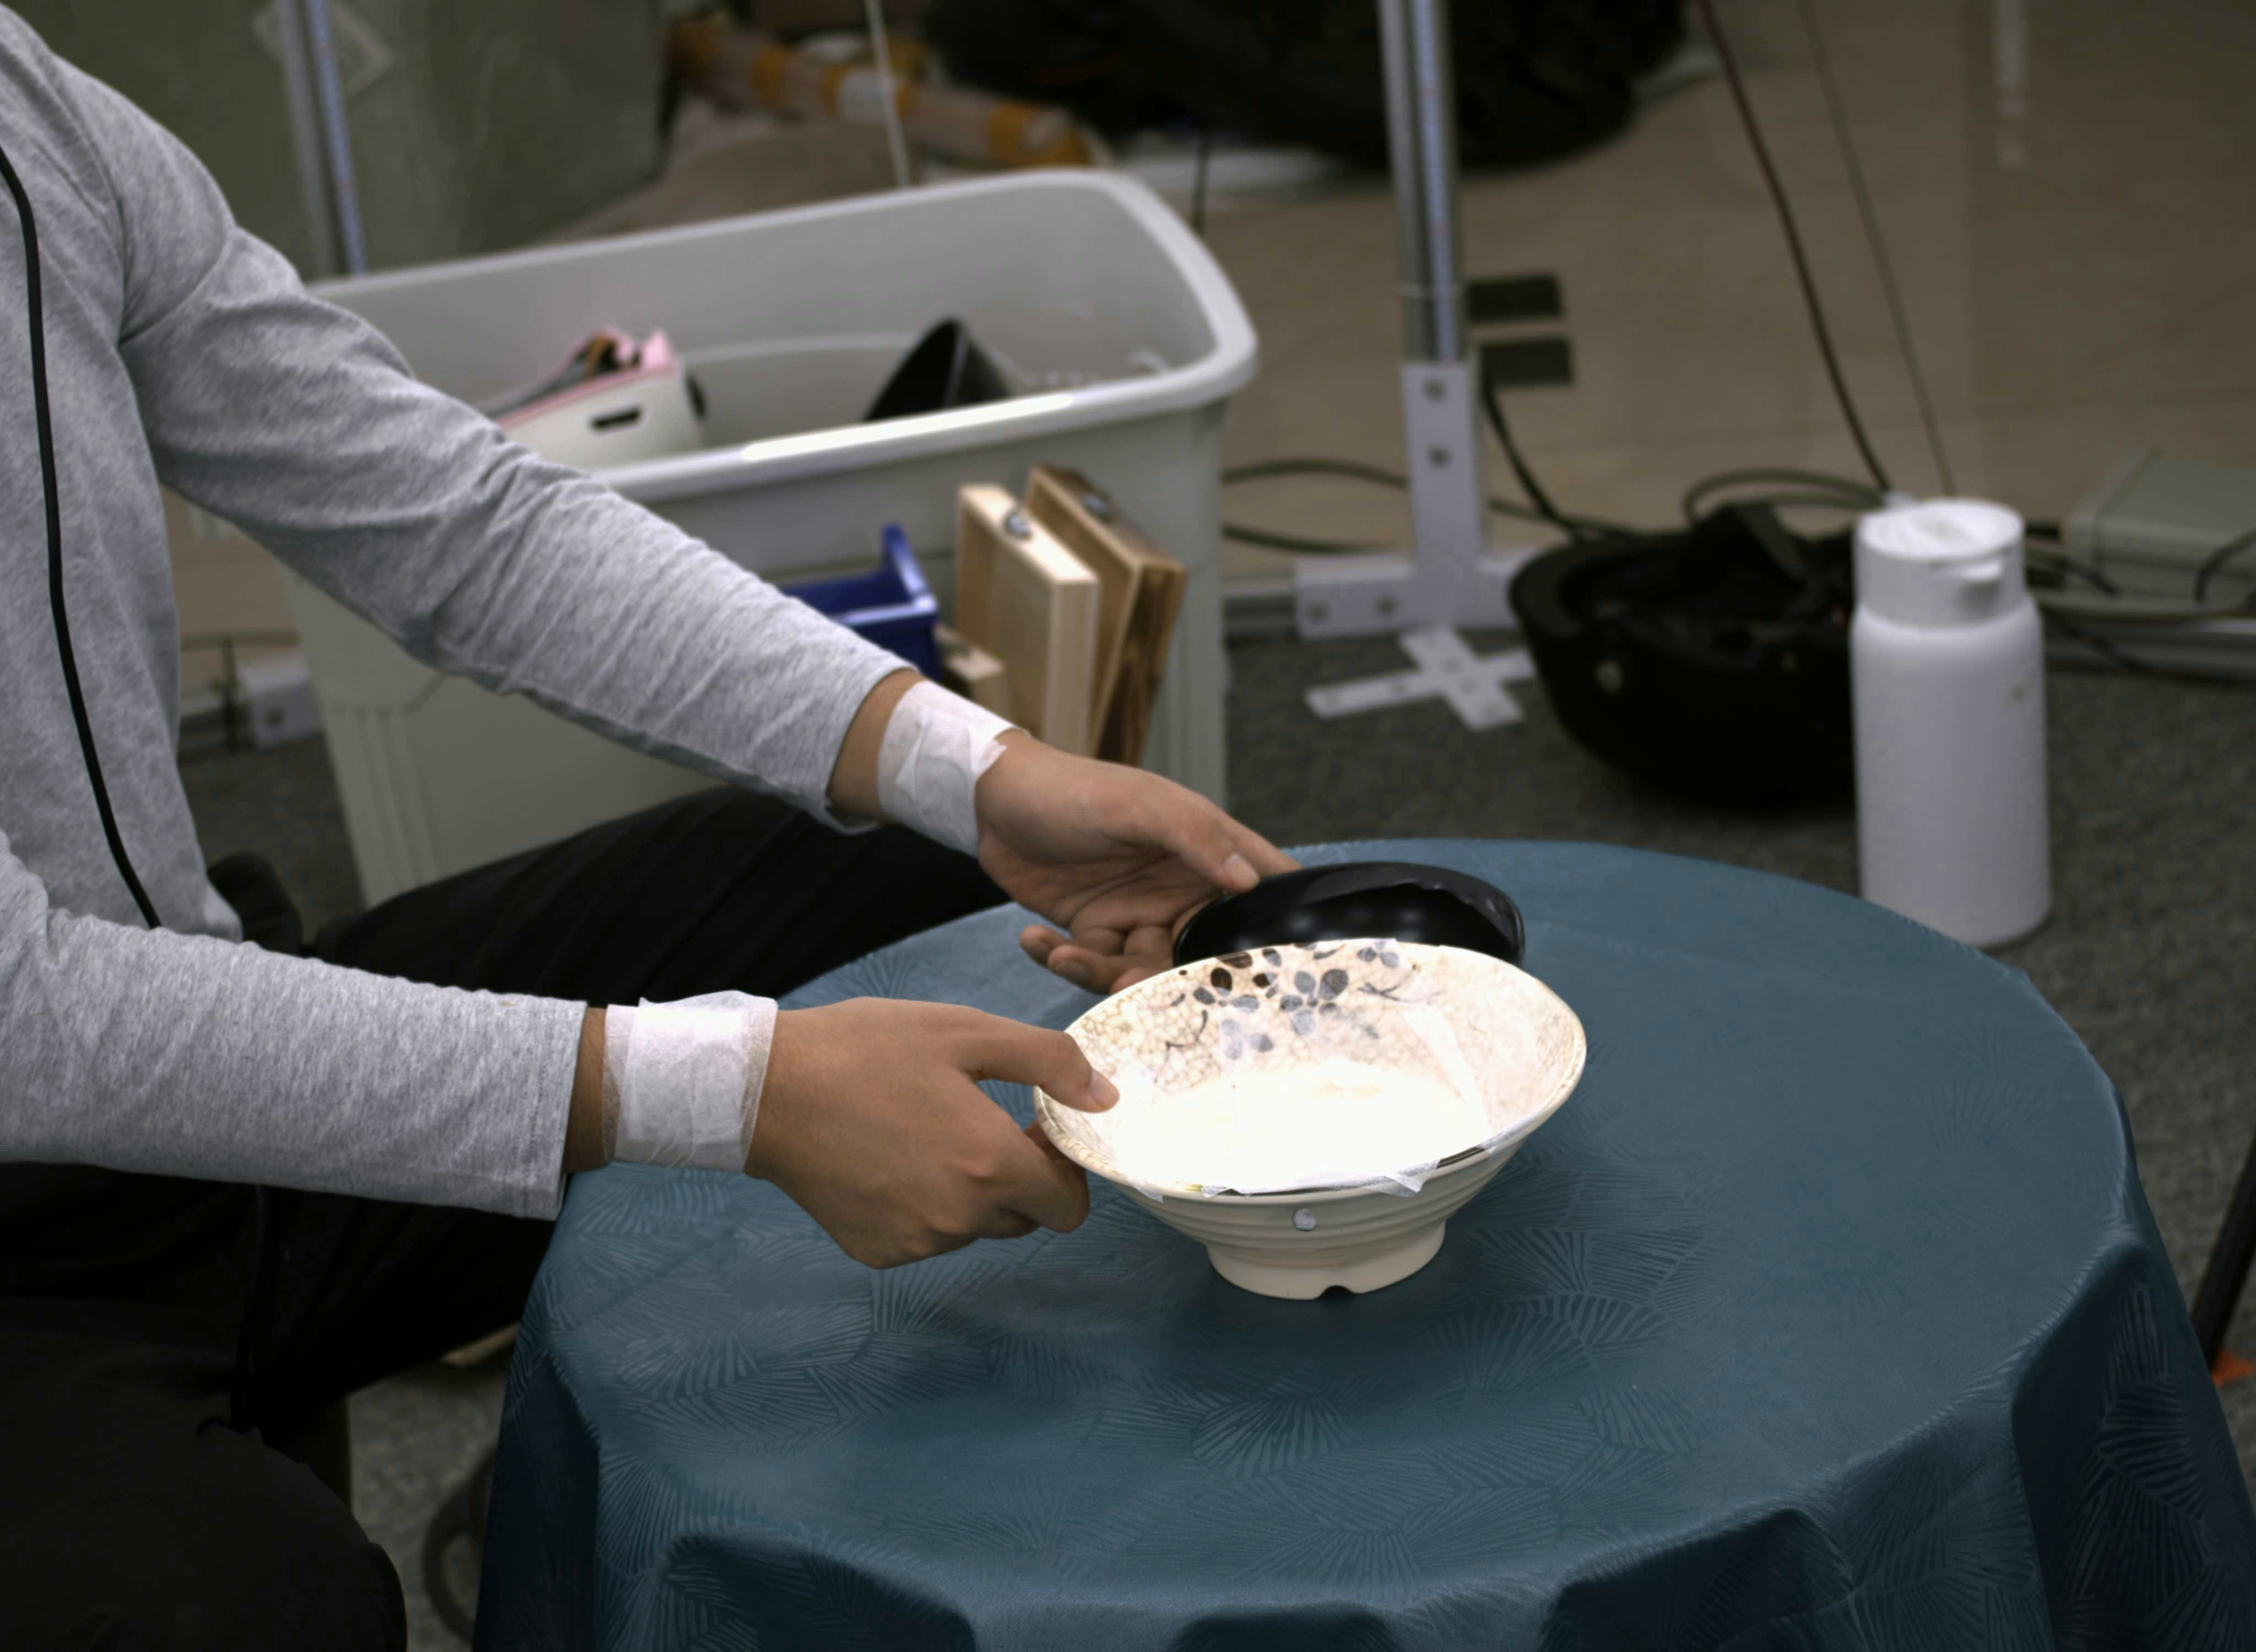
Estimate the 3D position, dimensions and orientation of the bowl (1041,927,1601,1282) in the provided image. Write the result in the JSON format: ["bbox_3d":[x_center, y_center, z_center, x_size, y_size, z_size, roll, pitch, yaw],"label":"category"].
[{"bbox_3d":[0.070,0.113,2.071,0.203,0.079,0.201,1,25,0],"label":"bowl"}]

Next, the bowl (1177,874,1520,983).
[{"bbox_3d":[0.089,0.068,2.231,0.140,0.050,0.138,-10,21,4],"label":"bowl"}]
